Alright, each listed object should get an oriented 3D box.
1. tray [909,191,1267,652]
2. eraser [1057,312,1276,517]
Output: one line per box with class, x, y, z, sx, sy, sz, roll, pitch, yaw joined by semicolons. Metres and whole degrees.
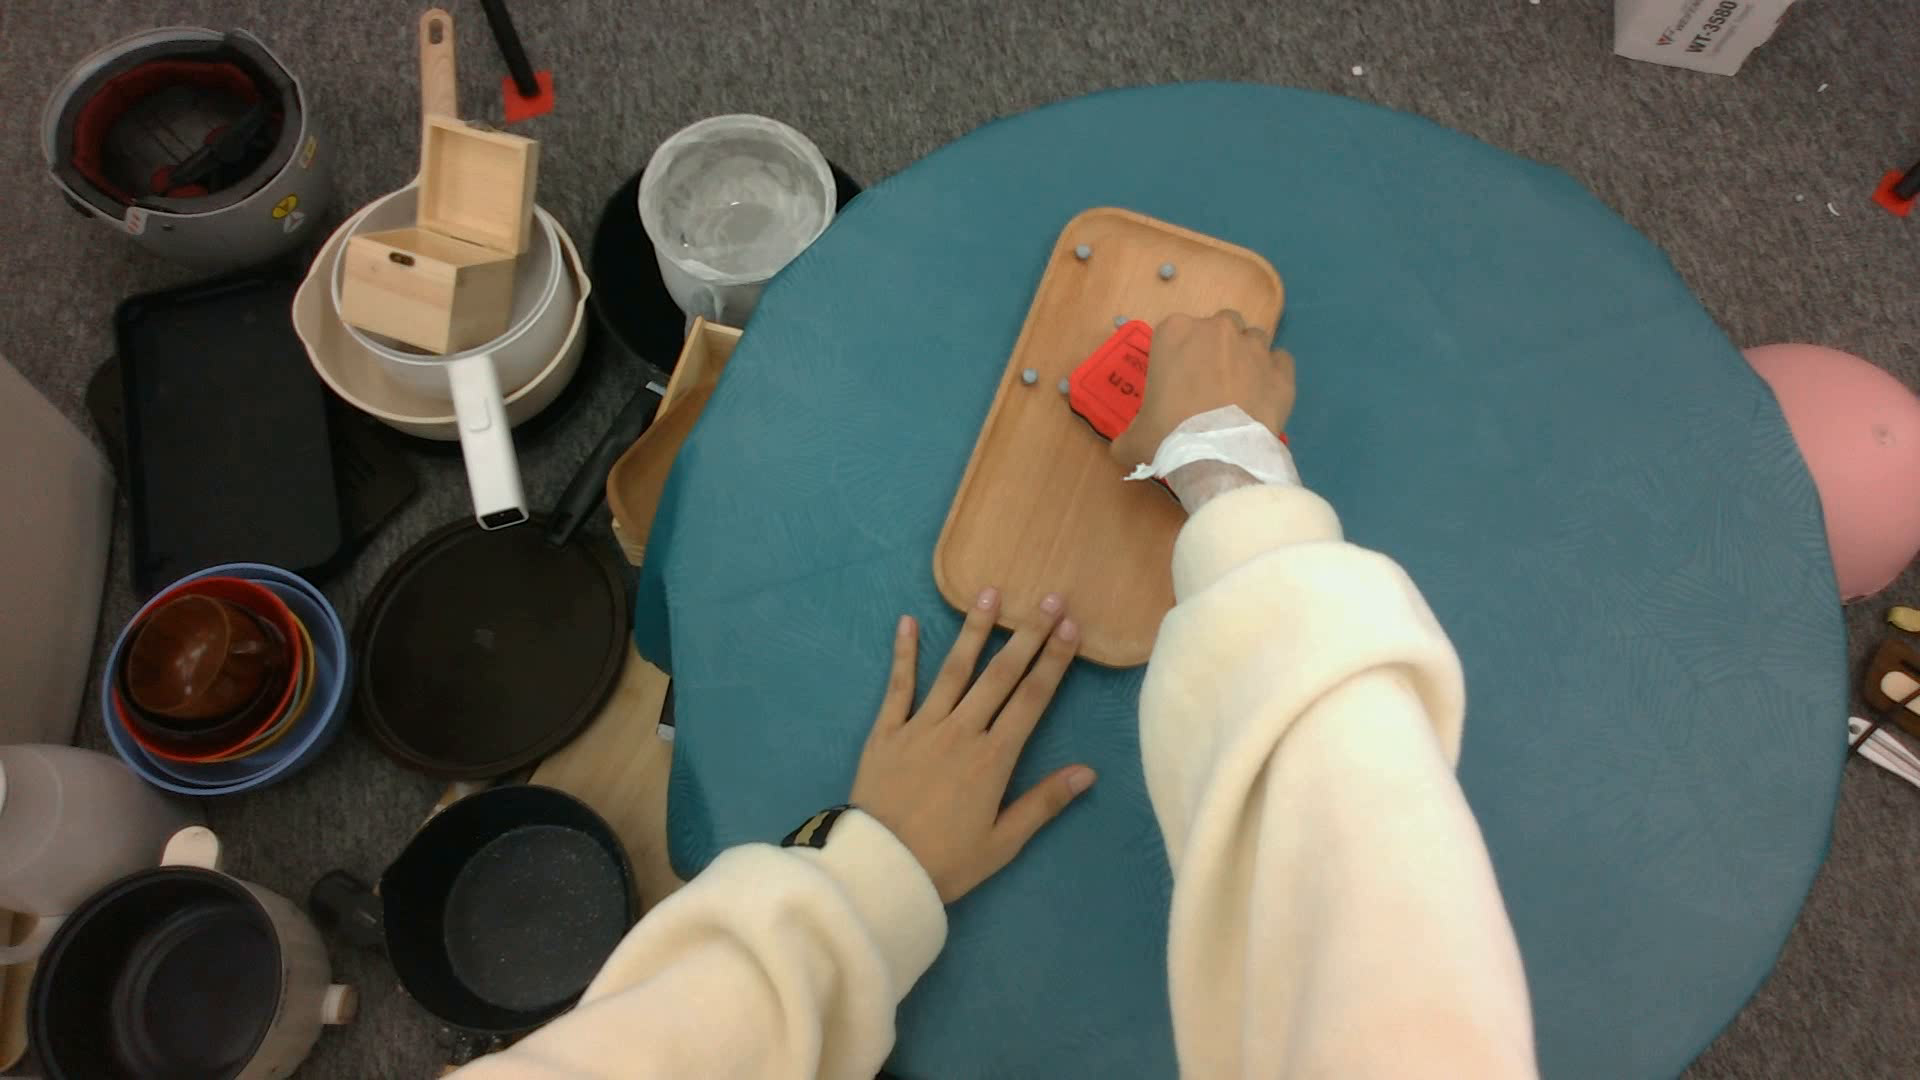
tray;0.070;-0.067;0.718;0.130;0.023;0.251;20;70;8
eraser;0.104;-0.065;0.704;0.108;0.023;0.059;42;74;17
